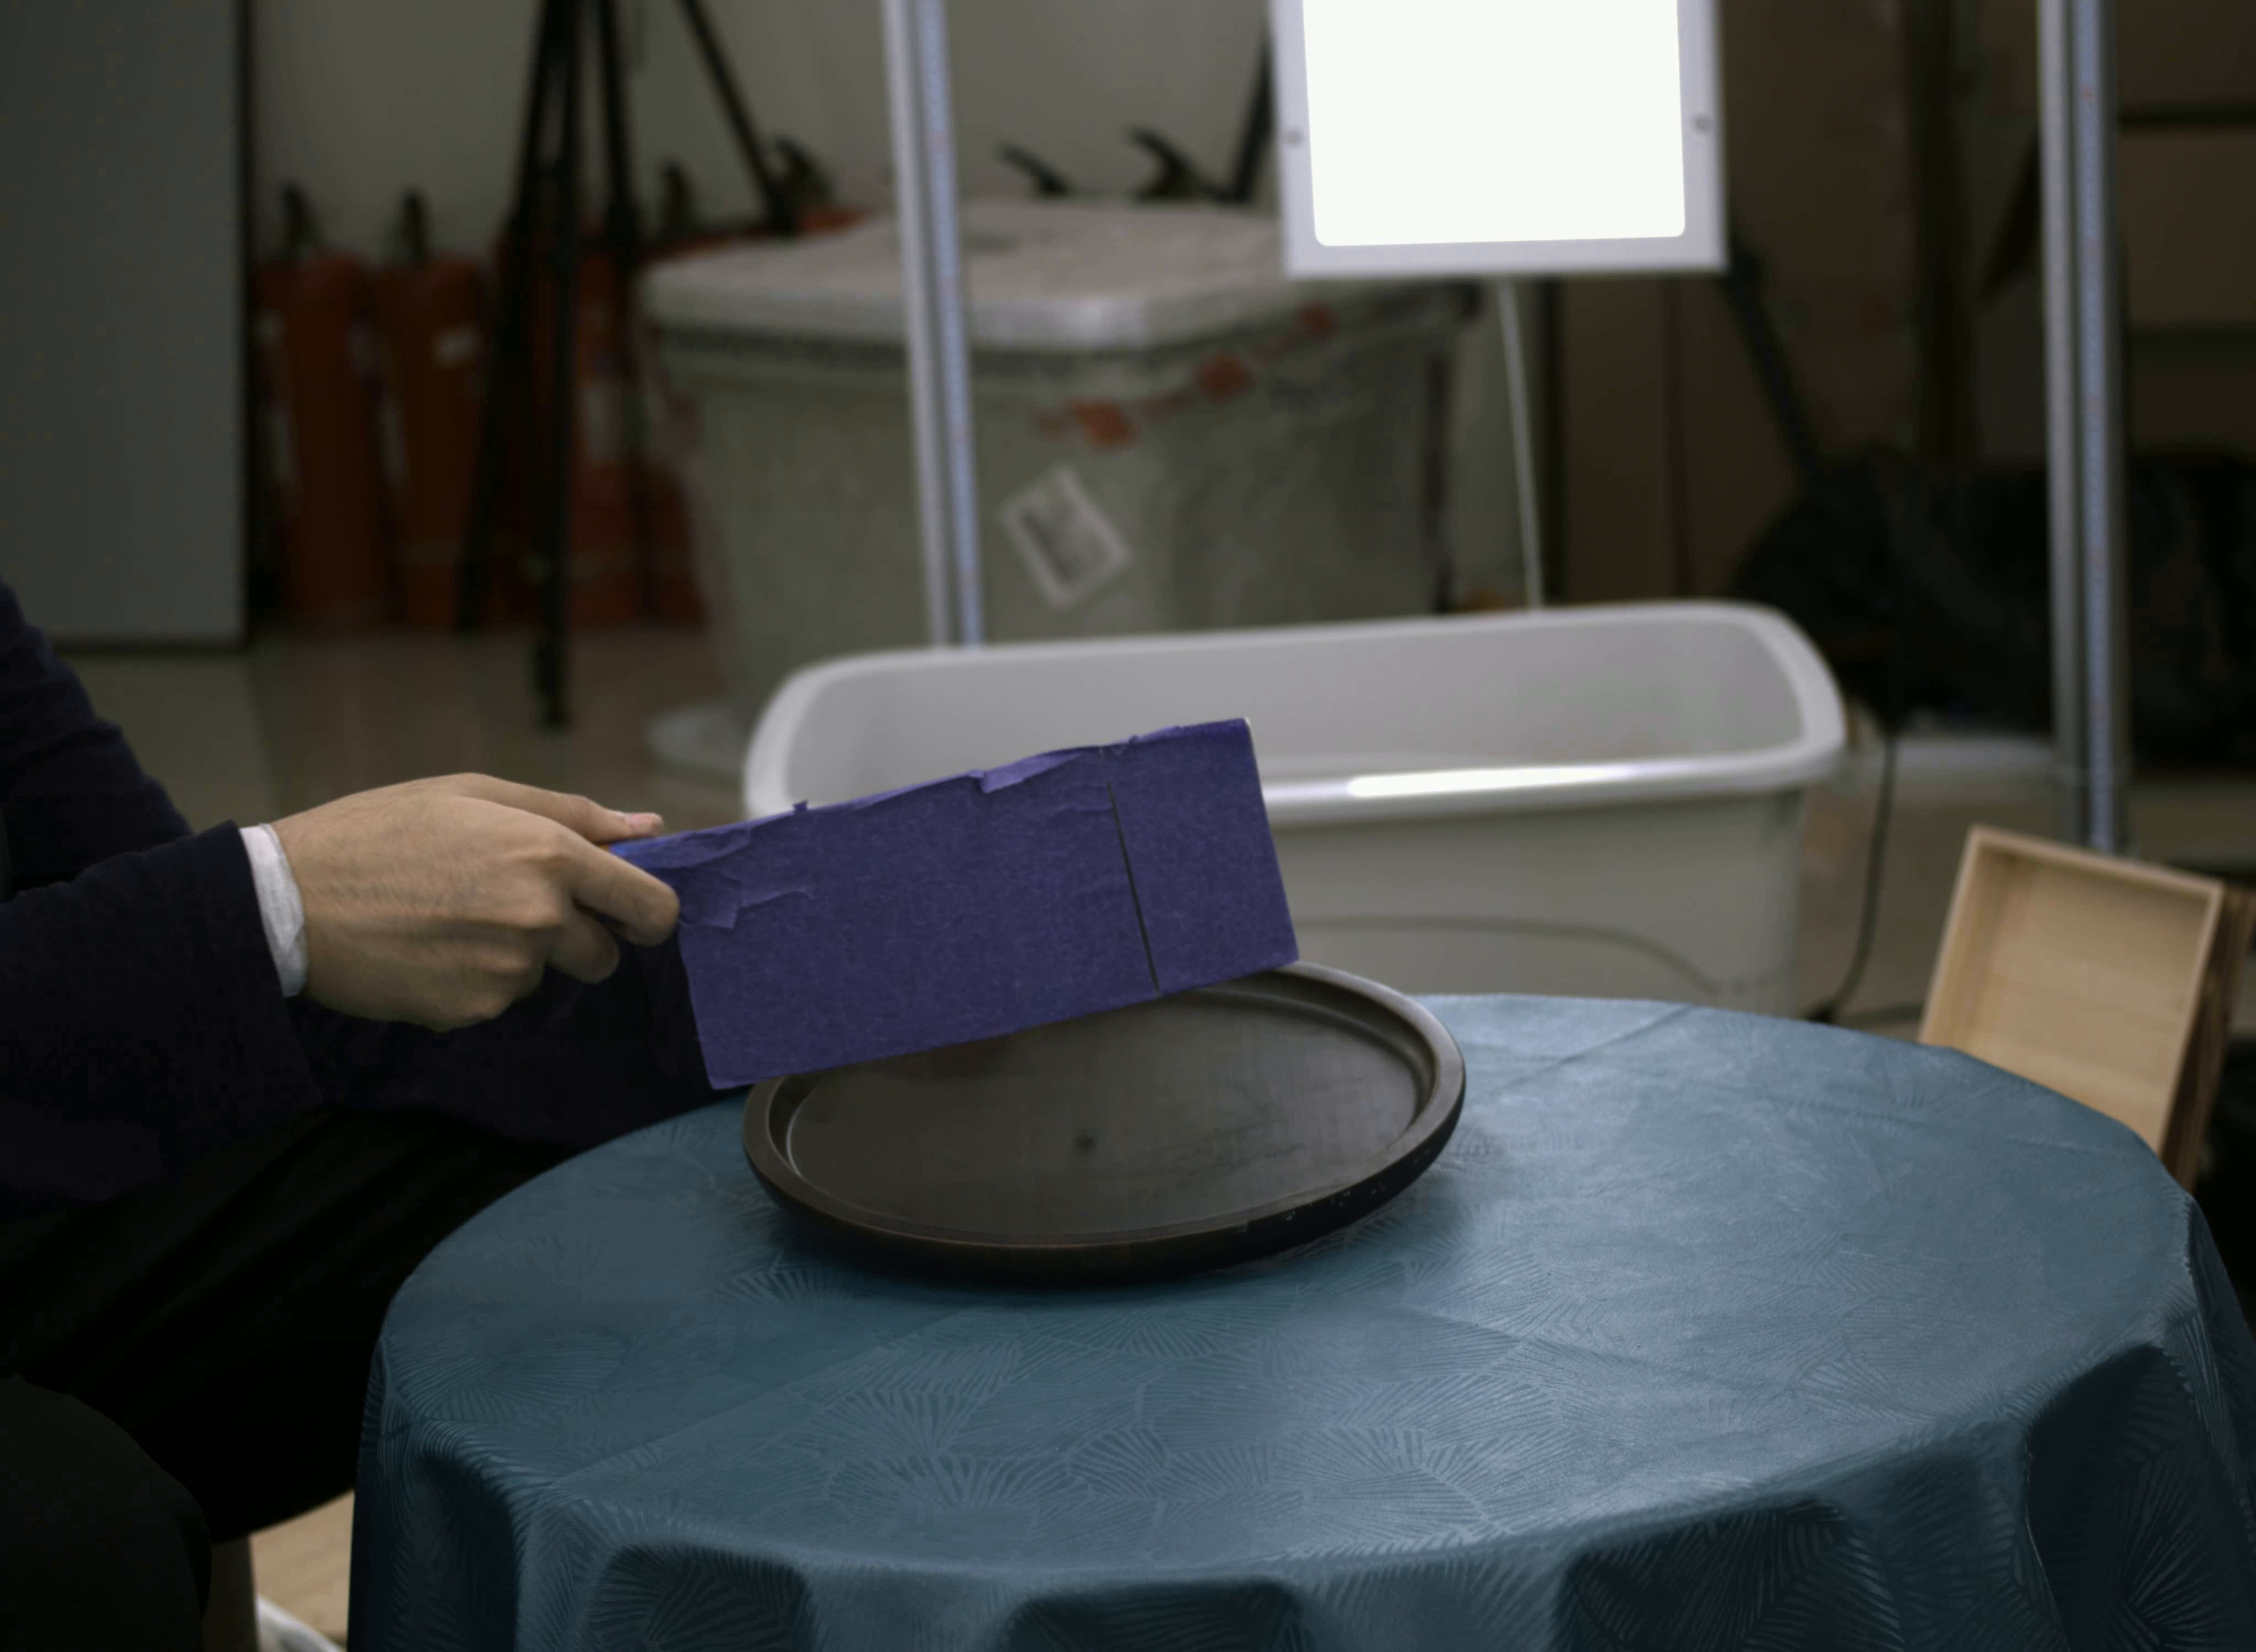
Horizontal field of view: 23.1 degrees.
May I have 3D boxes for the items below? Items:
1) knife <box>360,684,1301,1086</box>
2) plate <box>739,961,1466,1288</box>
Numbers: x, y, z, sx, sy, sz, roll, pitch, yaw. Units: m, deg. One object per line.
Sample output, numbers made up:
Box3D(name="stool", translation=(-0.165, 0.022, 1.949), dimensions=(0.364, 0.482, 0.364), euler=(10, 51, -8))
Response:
Box3D(name="knife", translation=(-0.097, 0.036, 1.867), dimensions=(0.314, 0.104, 0.032), euler=(-13, 8, -2))
Box3D(name="plate", translation=(-0.009, 0.100, 1.907), dimensions=(0.254, 0.029, 0.254), euler=(-5, 21, 0))
